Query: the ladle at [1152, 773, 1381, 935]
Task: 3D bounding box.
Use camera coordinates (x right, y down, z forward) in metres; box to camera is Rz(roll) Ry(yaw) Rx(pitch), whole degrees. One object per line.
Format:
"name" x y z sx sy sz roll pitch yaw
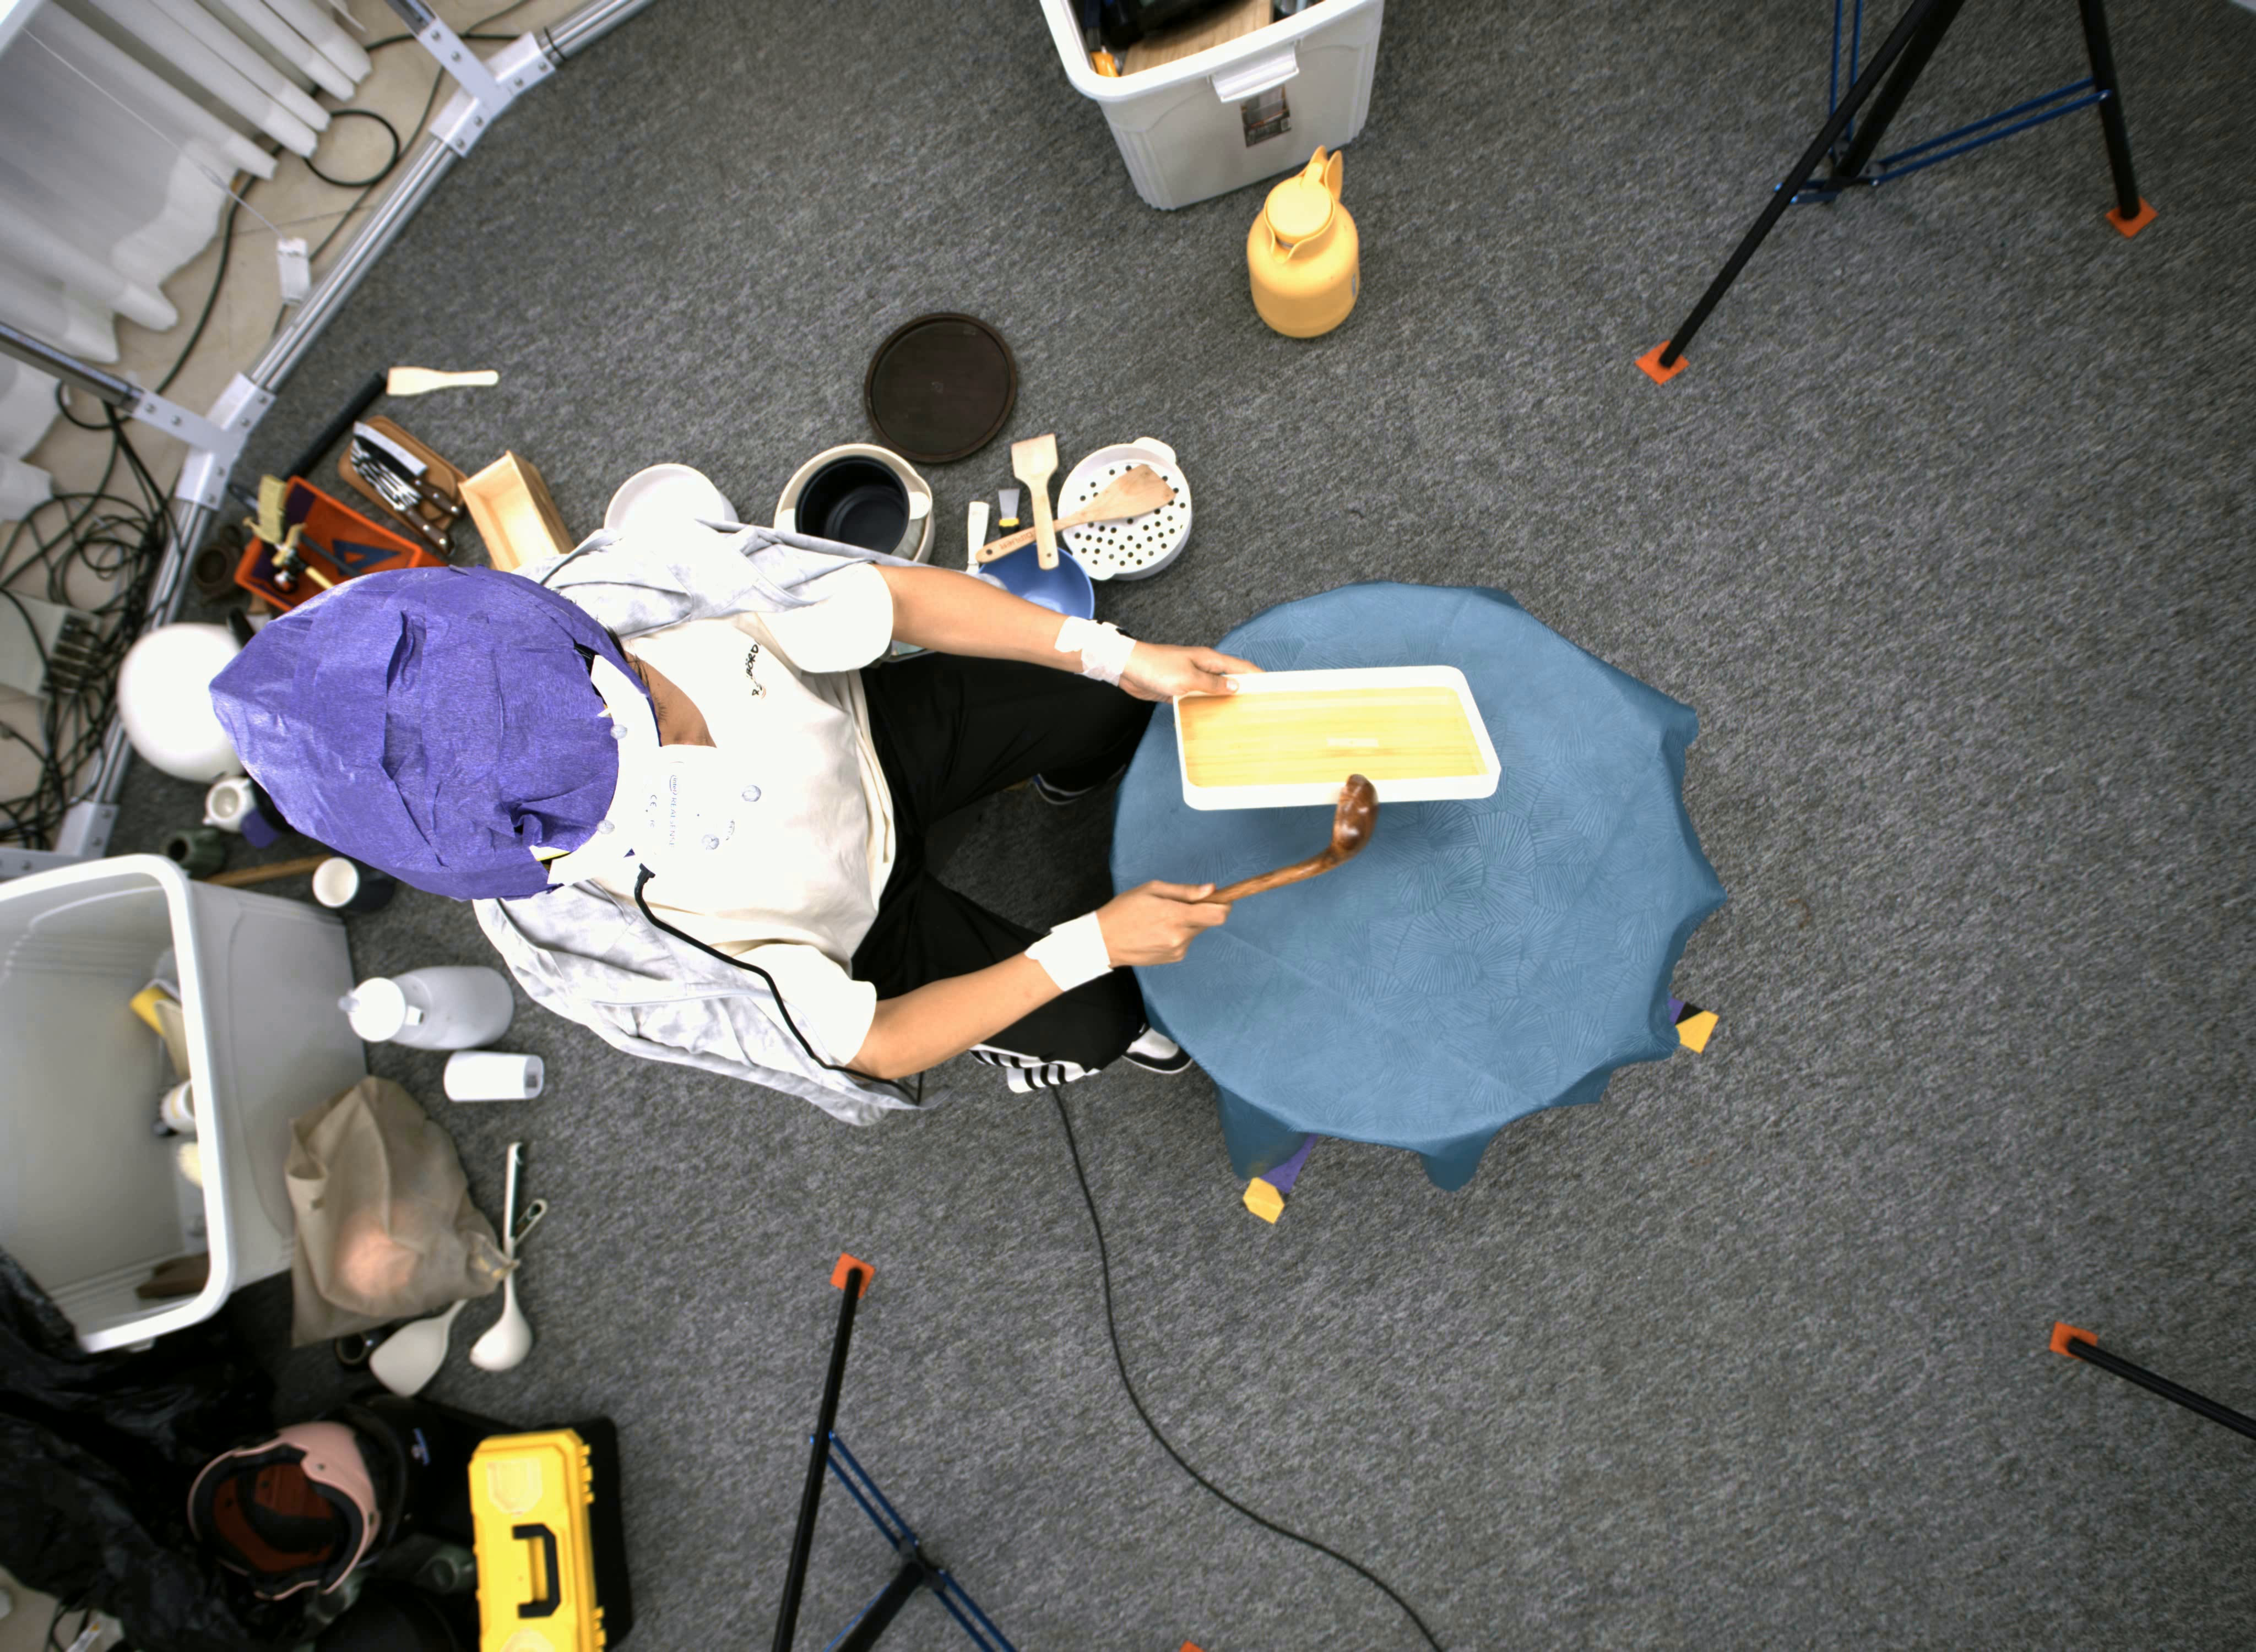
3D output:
"ladle" 0.119 0.028 1.305 0.278 0.080 0.077 -23 94 33

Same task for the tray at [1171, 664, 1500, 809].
"tray" 0.196 -0.092 1.350 0.301 0.028 0.186 -3 42 0
